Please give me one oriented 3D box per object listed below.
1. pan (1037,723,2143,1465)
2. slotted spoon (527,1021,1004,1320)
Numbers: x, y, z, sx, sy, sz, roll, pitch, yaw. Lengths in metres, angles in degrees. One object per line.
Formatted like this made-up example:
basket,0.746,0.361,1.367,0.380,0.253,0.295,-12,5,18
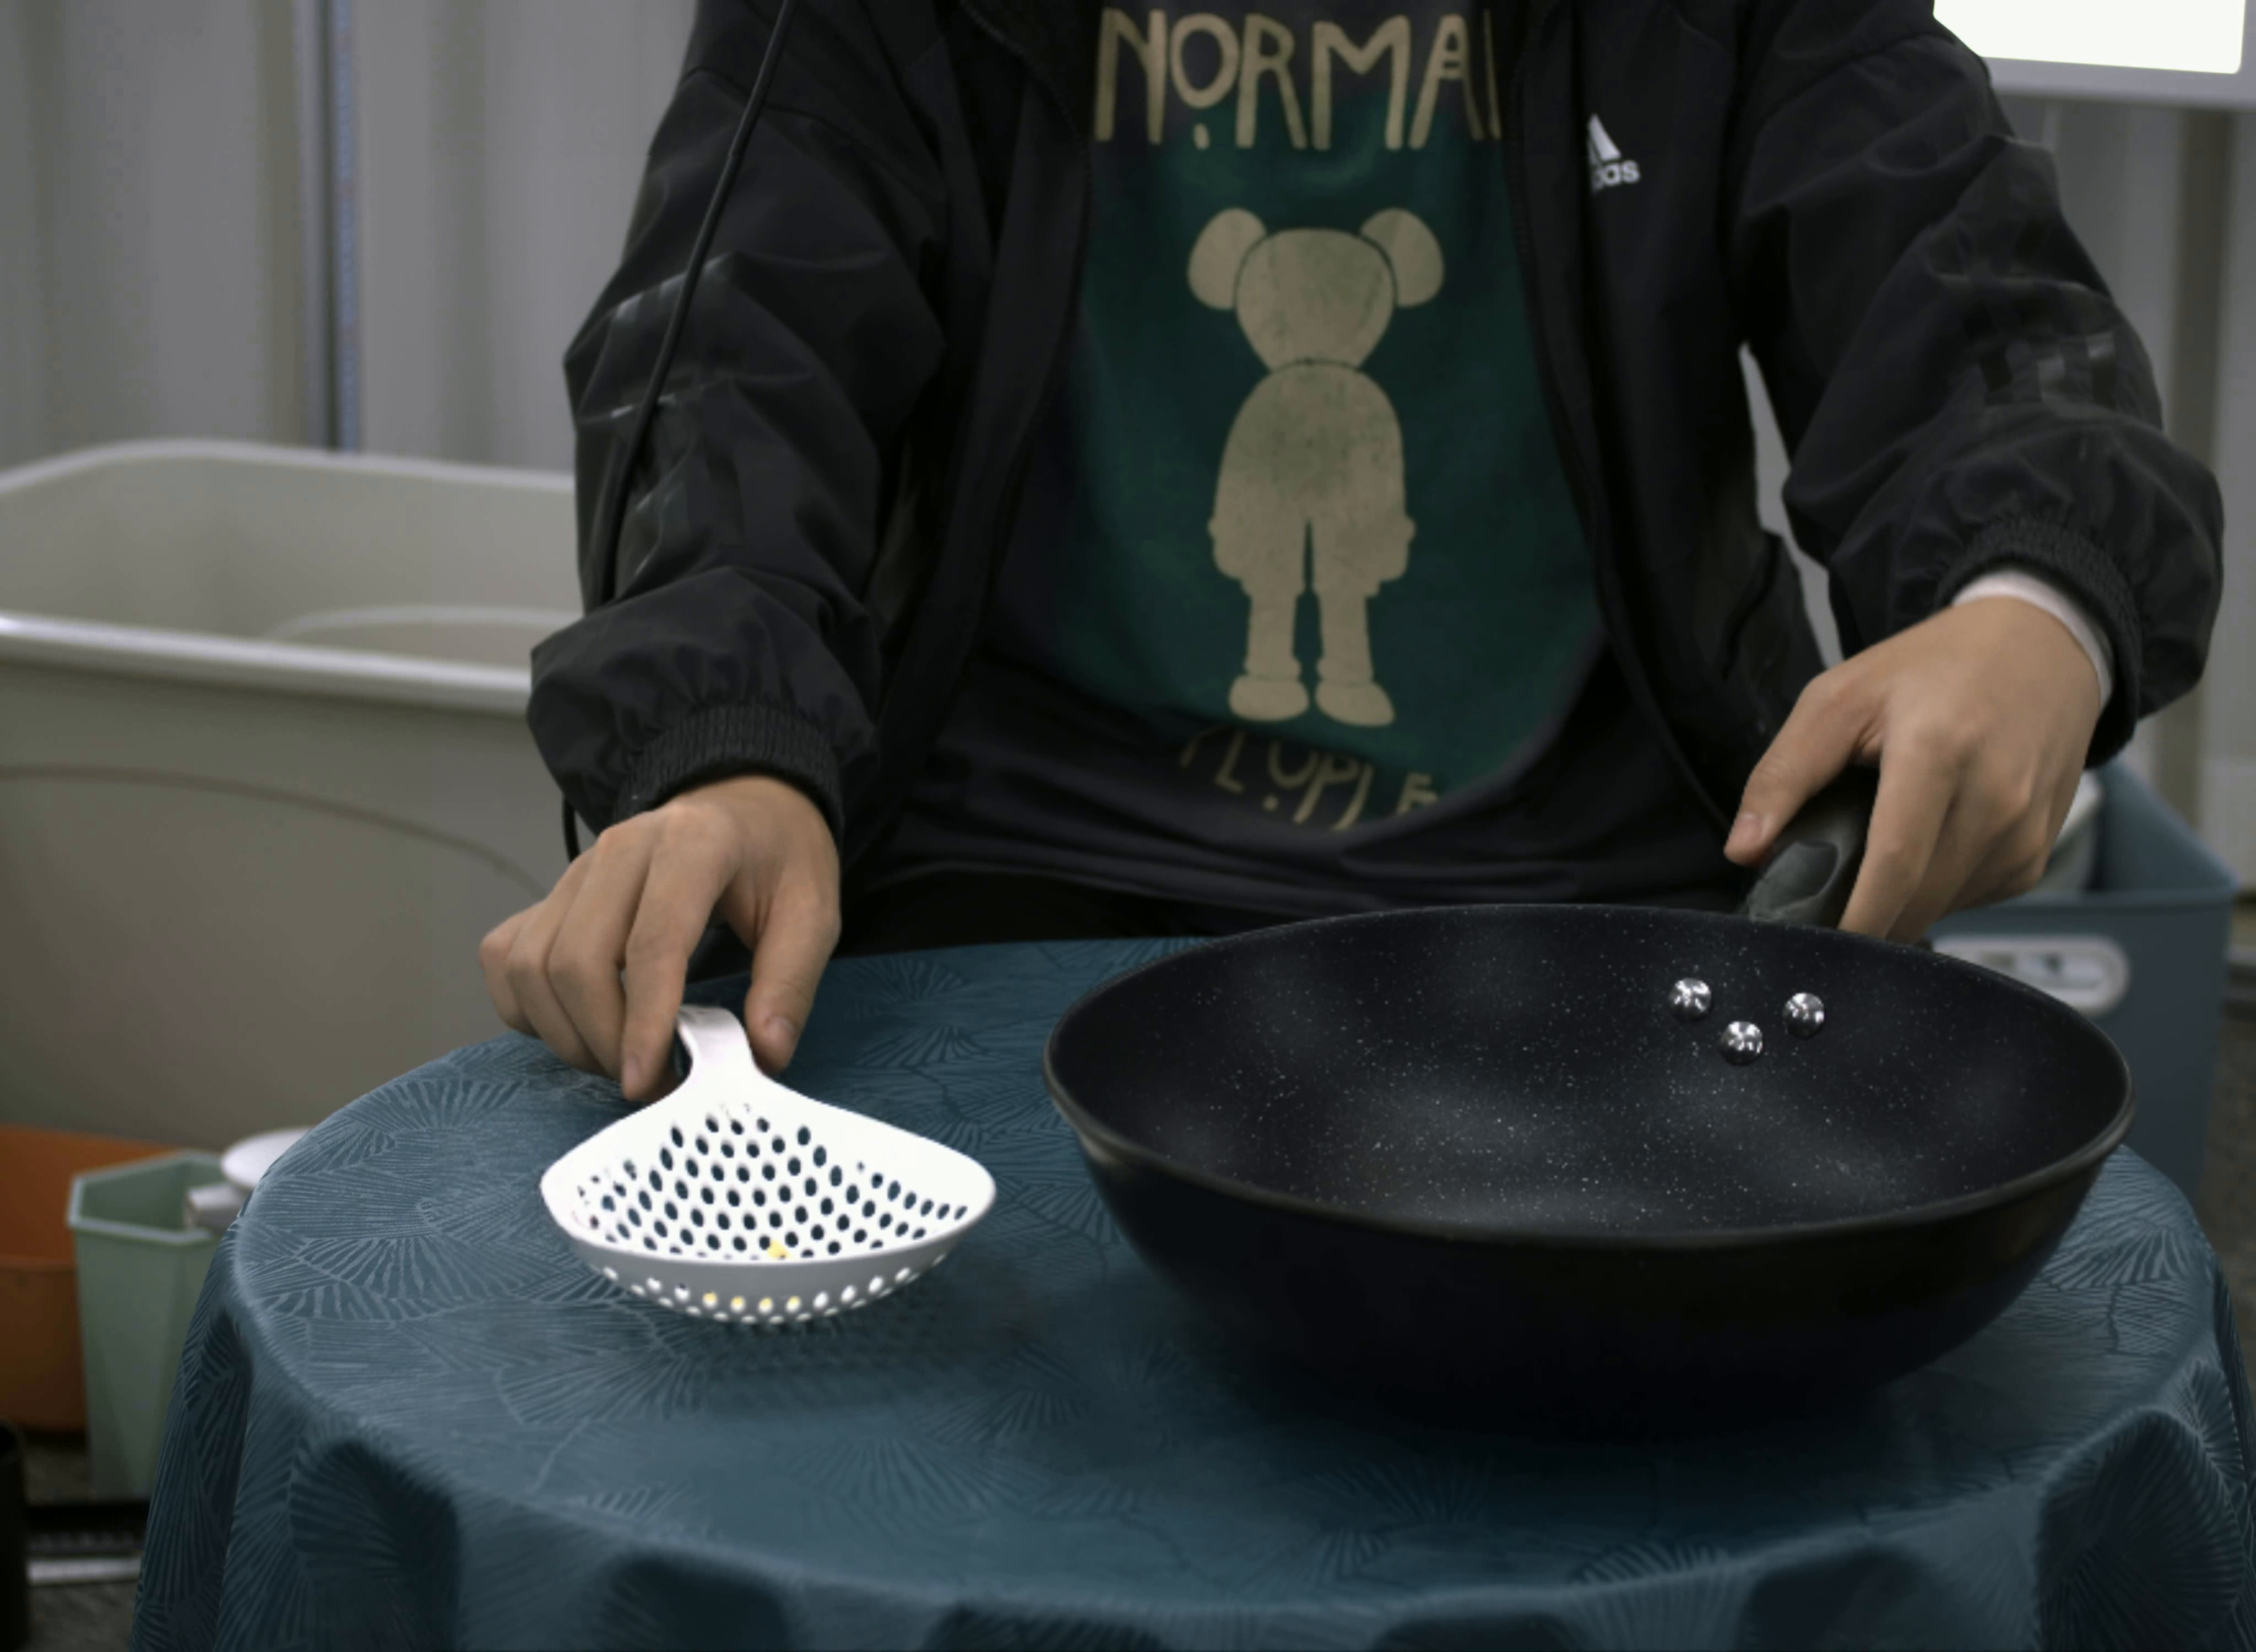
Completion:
pan,0.163,0.077,1.560,0.307,0.112,0.478,9,18,23
slotted spoon,-0.122,0.092,1.618,0.137,0.051,0.345,-3,15,-9
